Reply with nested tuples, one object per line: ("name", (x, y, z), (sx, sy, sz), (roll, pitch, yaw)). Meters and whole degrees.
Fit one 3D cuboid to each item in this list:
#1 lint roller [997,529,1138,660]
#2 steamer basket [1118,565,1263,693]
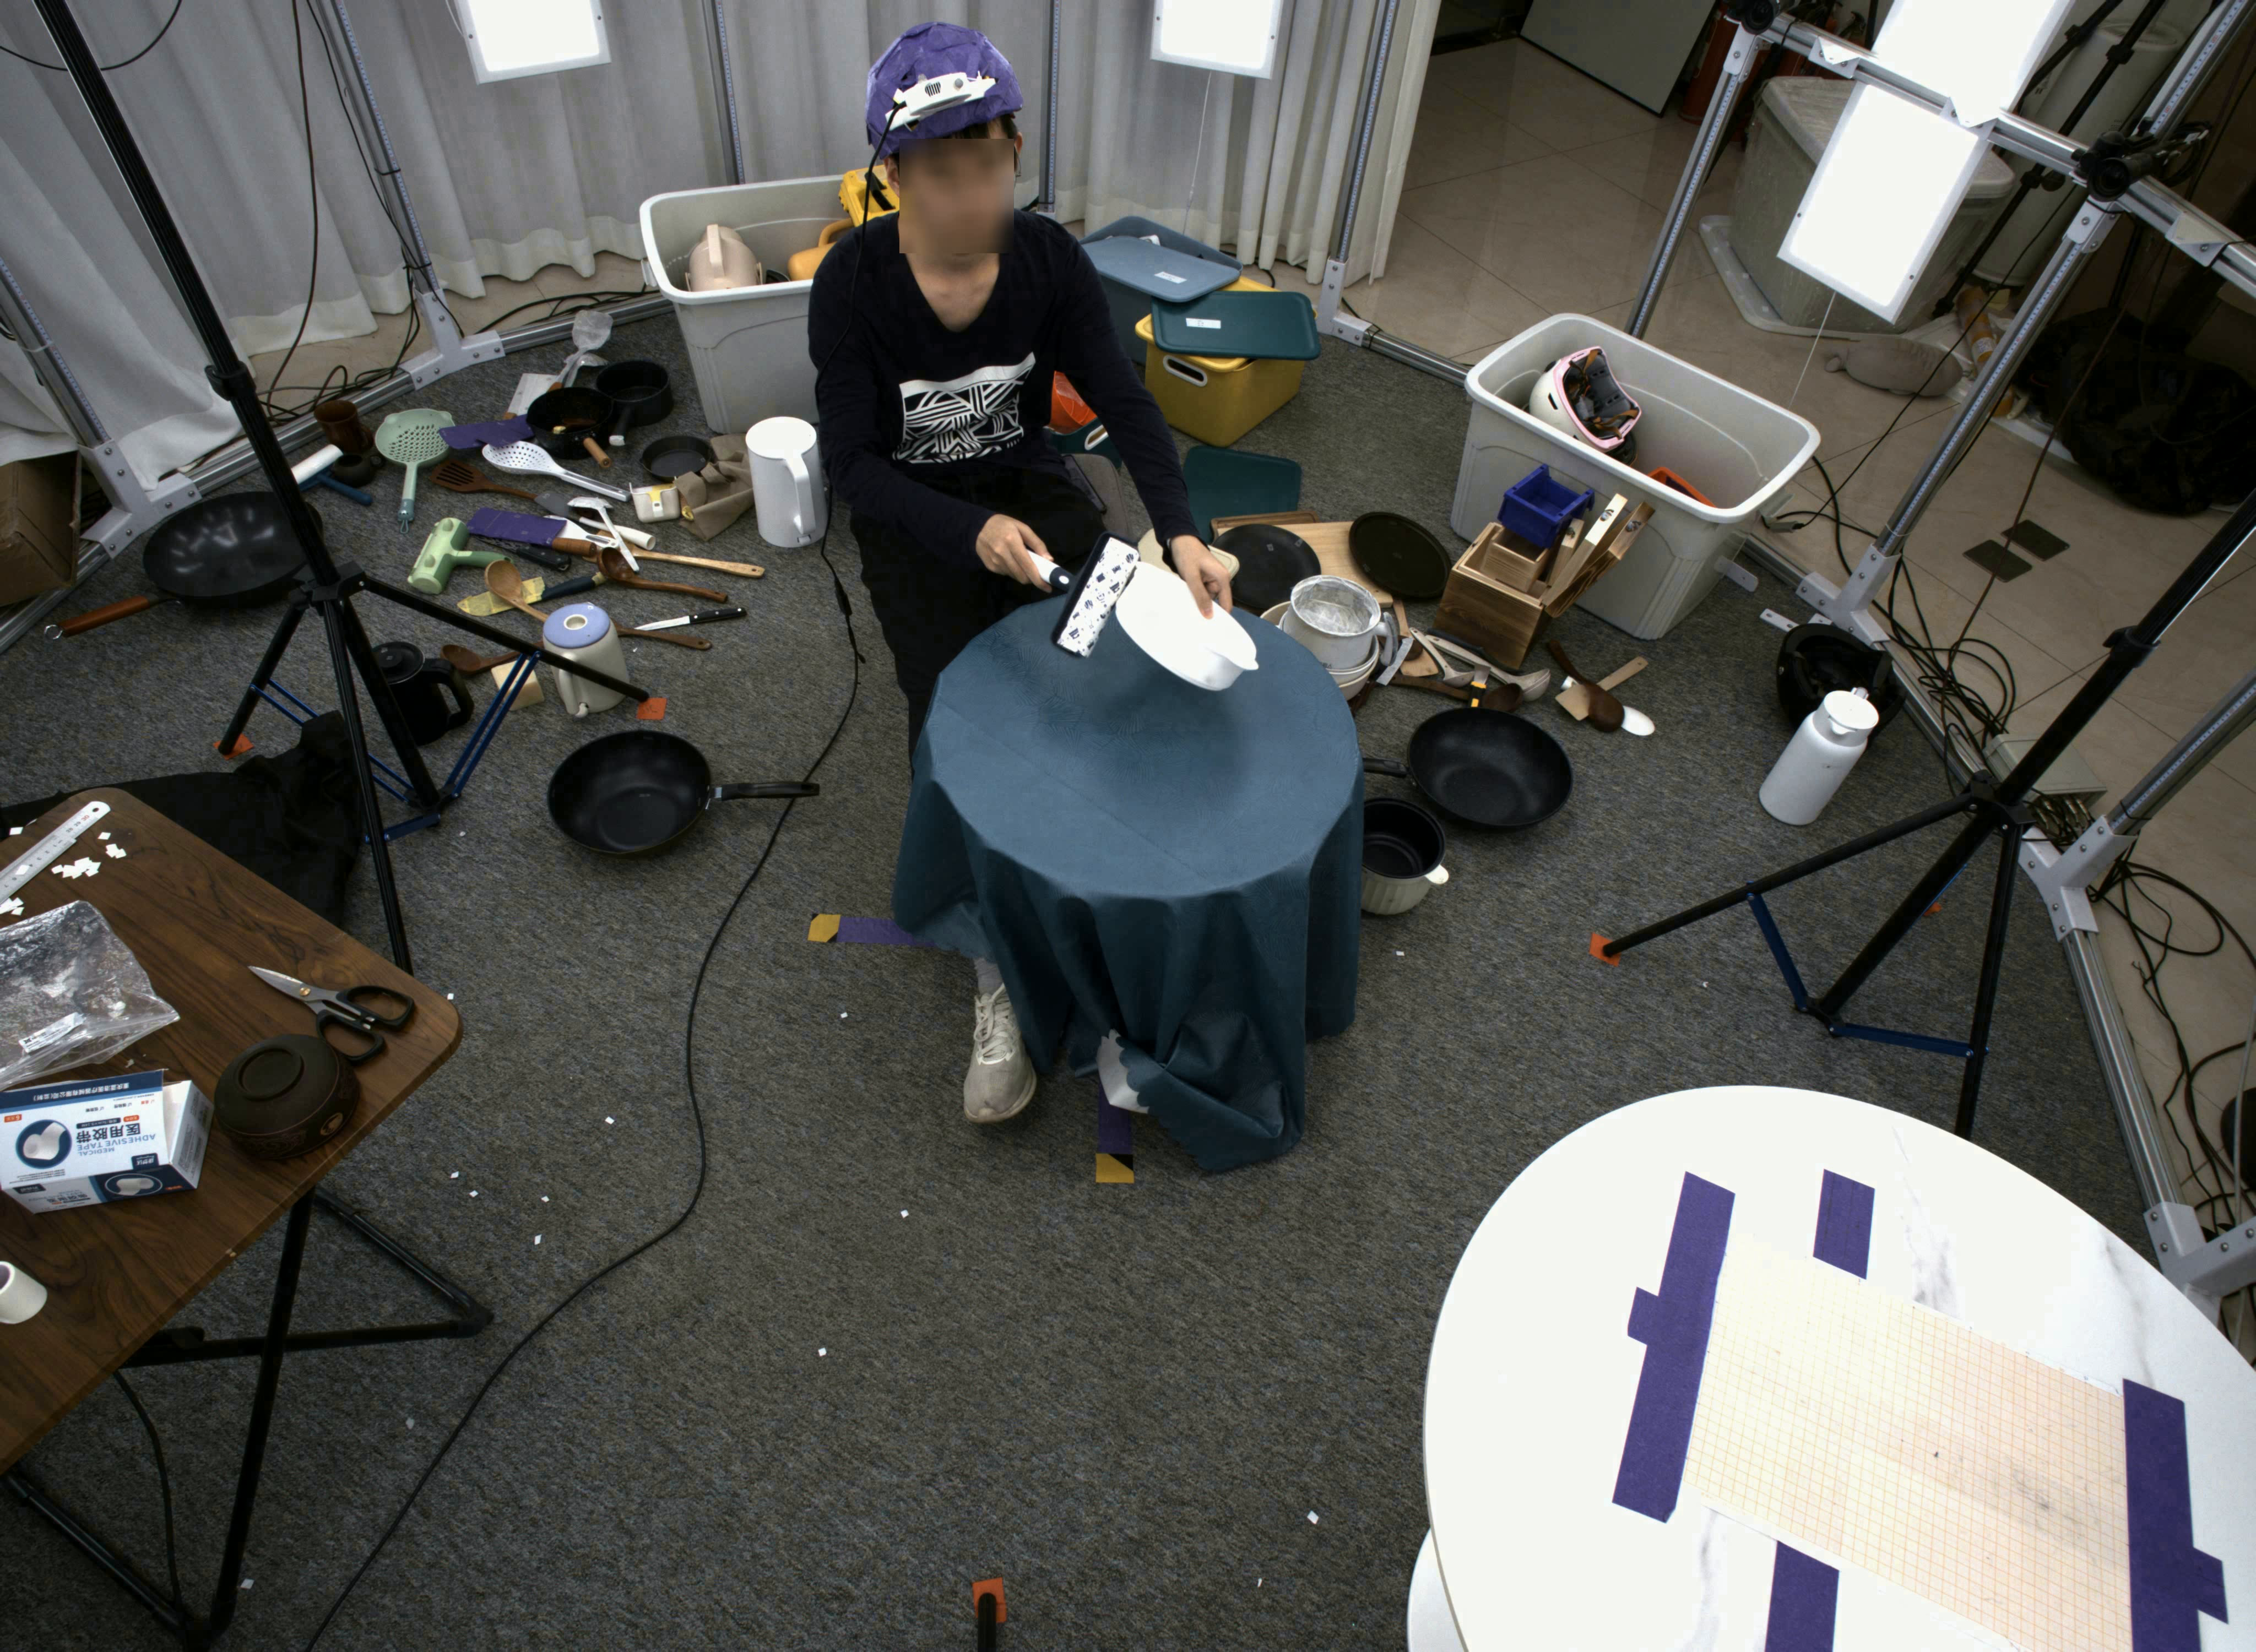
("lint roller", (-0.109, -0.355, 1.812), (0.251, 0.175, 0.050), (31, 9, 37))
("steamer basket", (0.079, -0.263, 1.740), (0.234, 0.068, 0.201), (46, 25, 24))
